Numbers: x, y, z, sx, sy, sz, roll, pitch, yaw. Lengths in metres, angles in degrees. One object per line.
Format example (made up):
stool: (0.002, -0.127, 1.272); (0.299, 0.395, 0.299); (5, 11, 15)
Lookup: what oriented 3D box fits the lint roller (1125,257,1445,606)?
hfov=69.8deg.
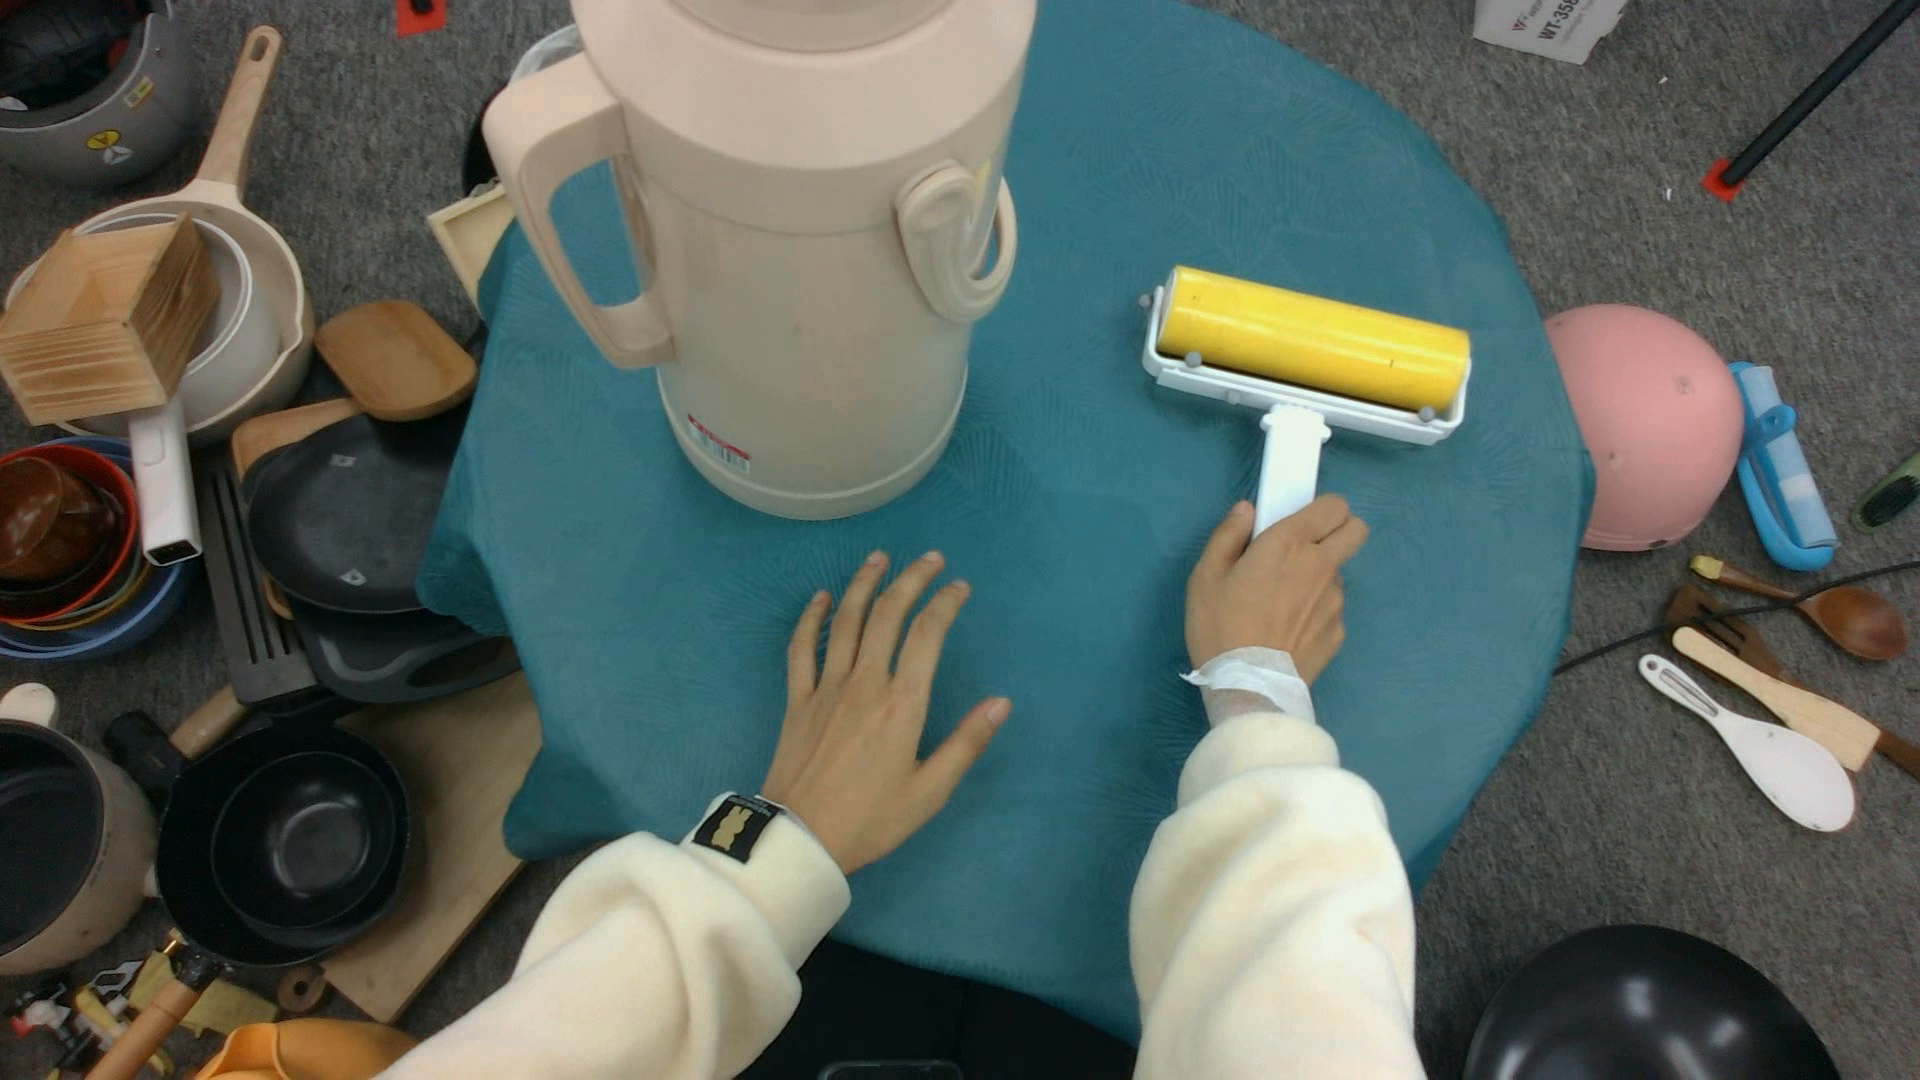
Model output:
lint roller: (0.168, -0.058, 0.716); (0.174, 0.051, 0.193); (12, 53, -2)

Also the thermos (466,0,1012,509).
thermos: (-0.080, -0.153, 0.553); (0.207, 0.405, 0.175); (-32, 76, -16)
